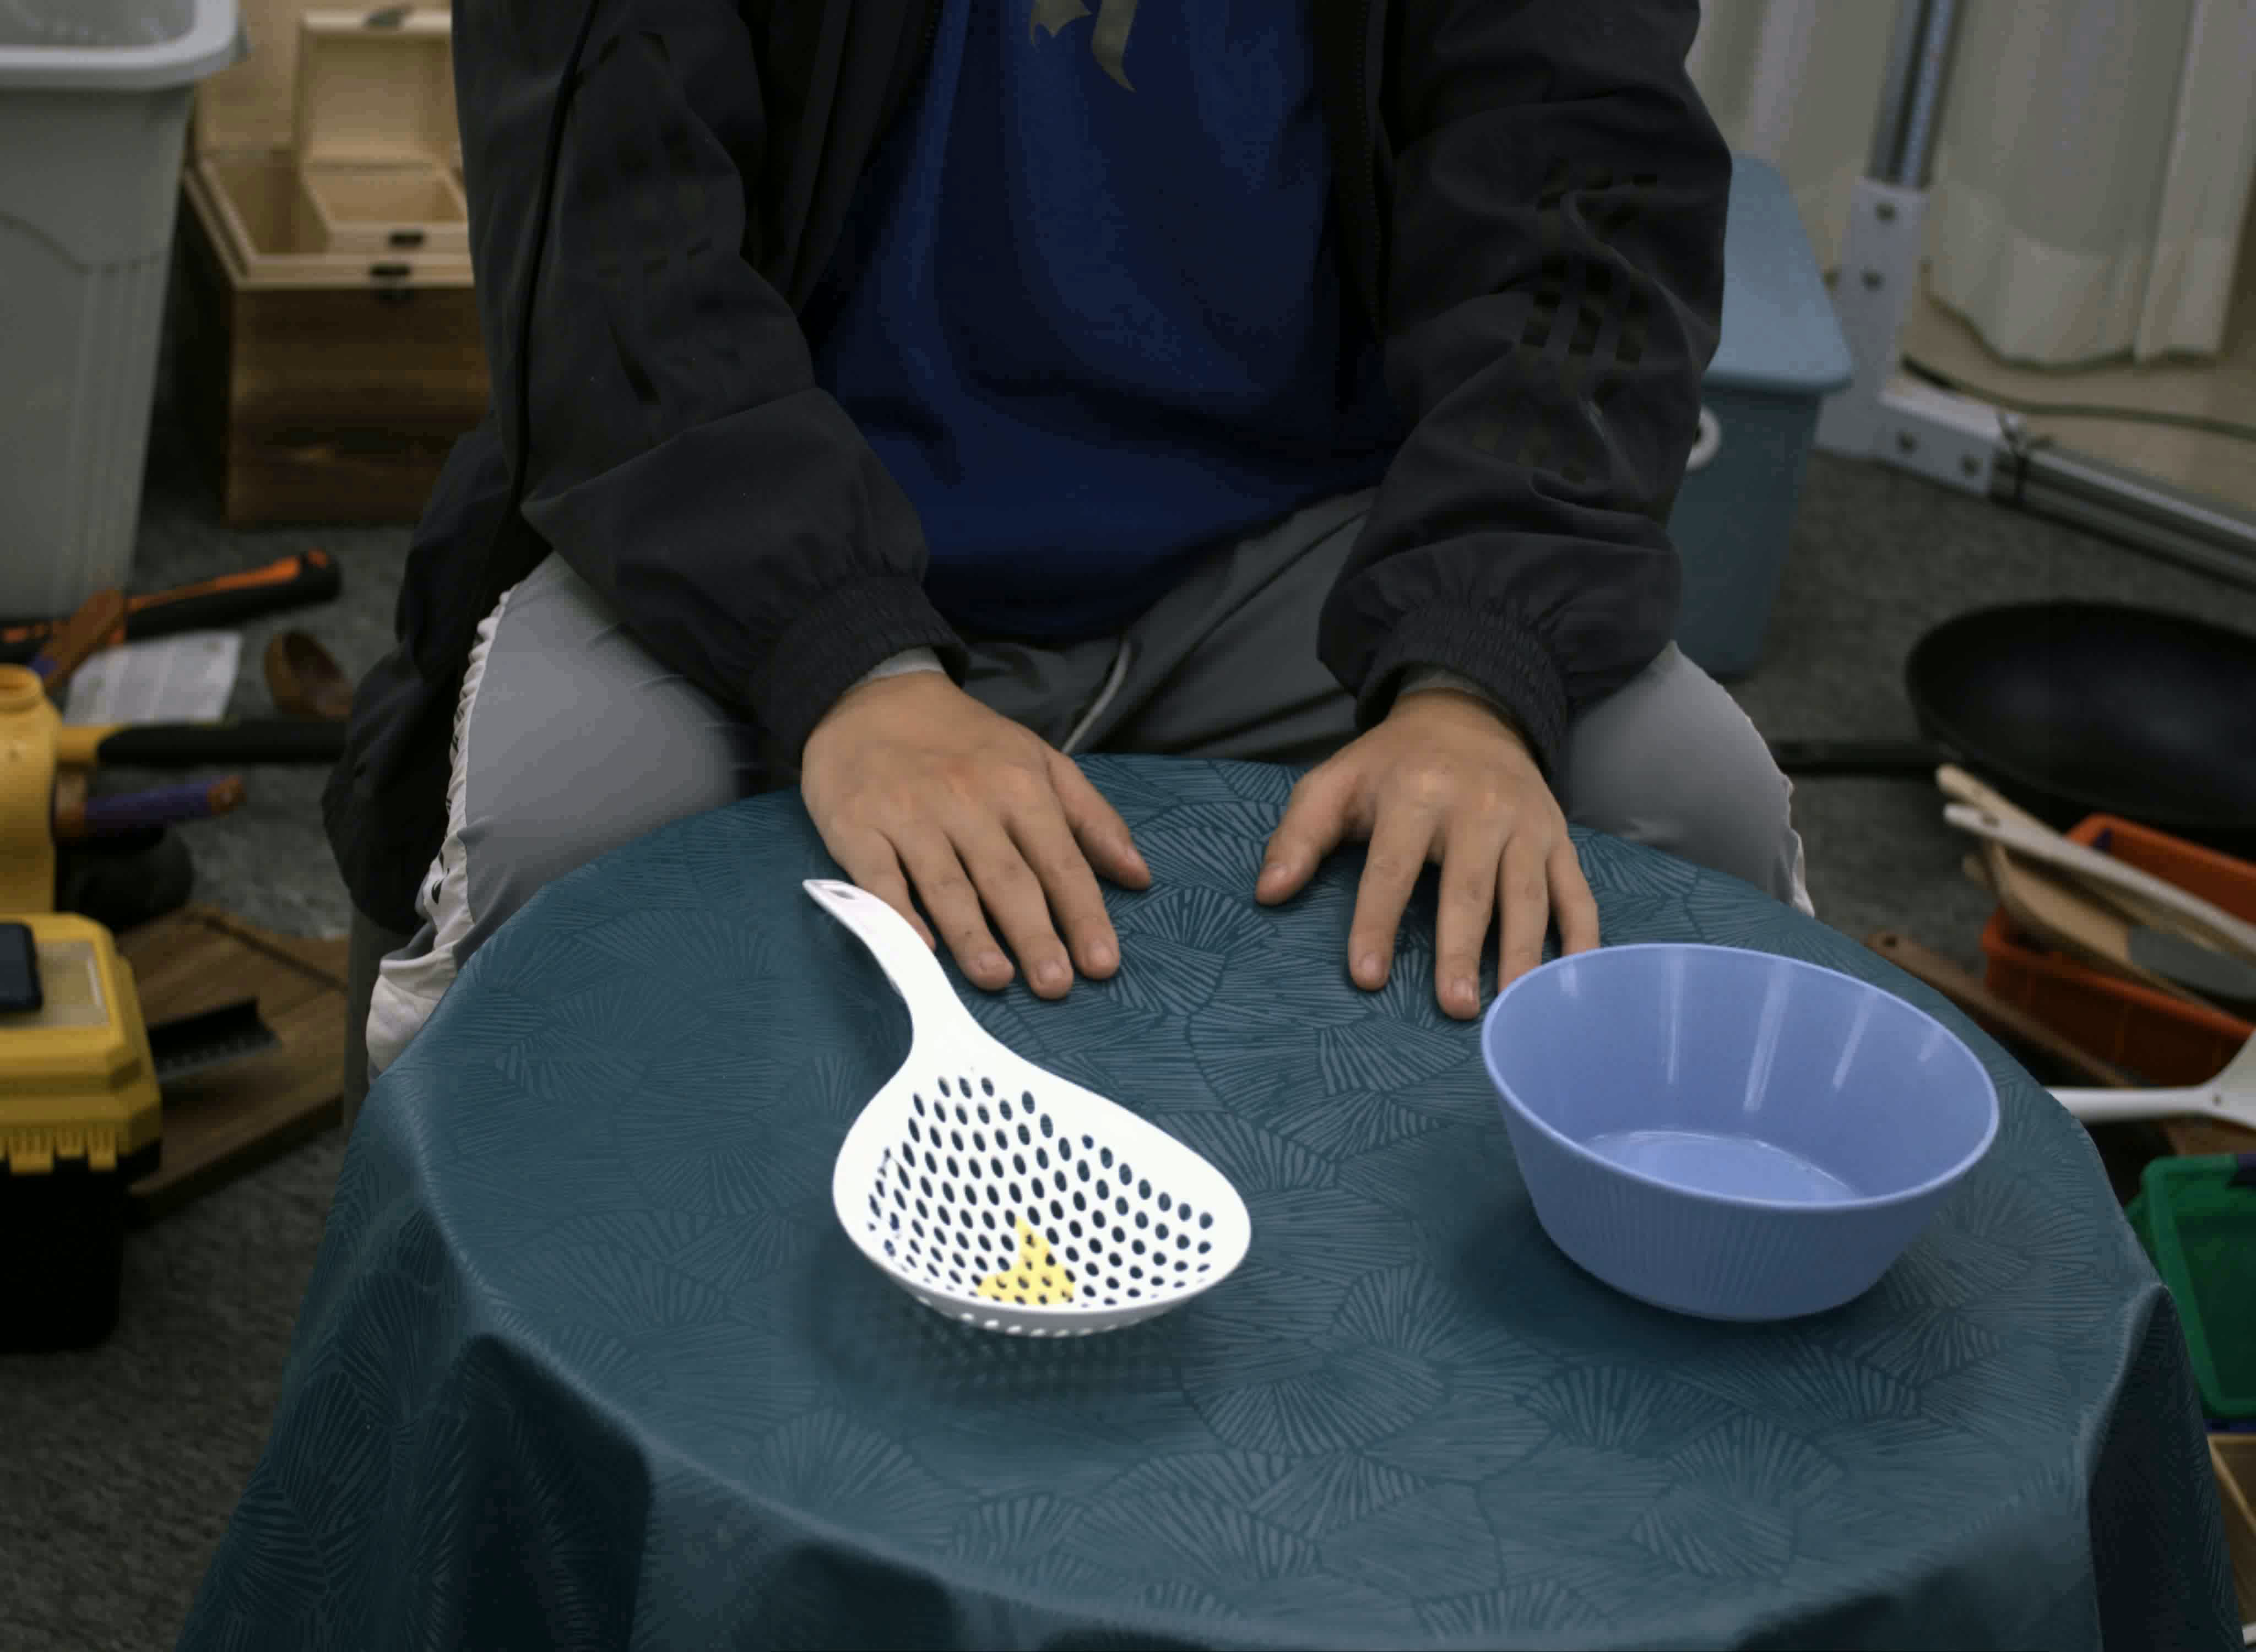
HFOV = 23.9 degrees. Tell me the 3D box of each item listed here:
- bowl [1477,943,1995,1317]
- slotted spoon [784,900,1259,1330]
[{"bbox_3d":[0.200,0.109,1.800,0.175,0.070,0.177,5,26,-3],"label":"bowl"},{"bbox_3d":[-0.061,0.086,1.817,0.136,0.050,0.351,-6,29,-16],"label":"slotted spoon"}]
